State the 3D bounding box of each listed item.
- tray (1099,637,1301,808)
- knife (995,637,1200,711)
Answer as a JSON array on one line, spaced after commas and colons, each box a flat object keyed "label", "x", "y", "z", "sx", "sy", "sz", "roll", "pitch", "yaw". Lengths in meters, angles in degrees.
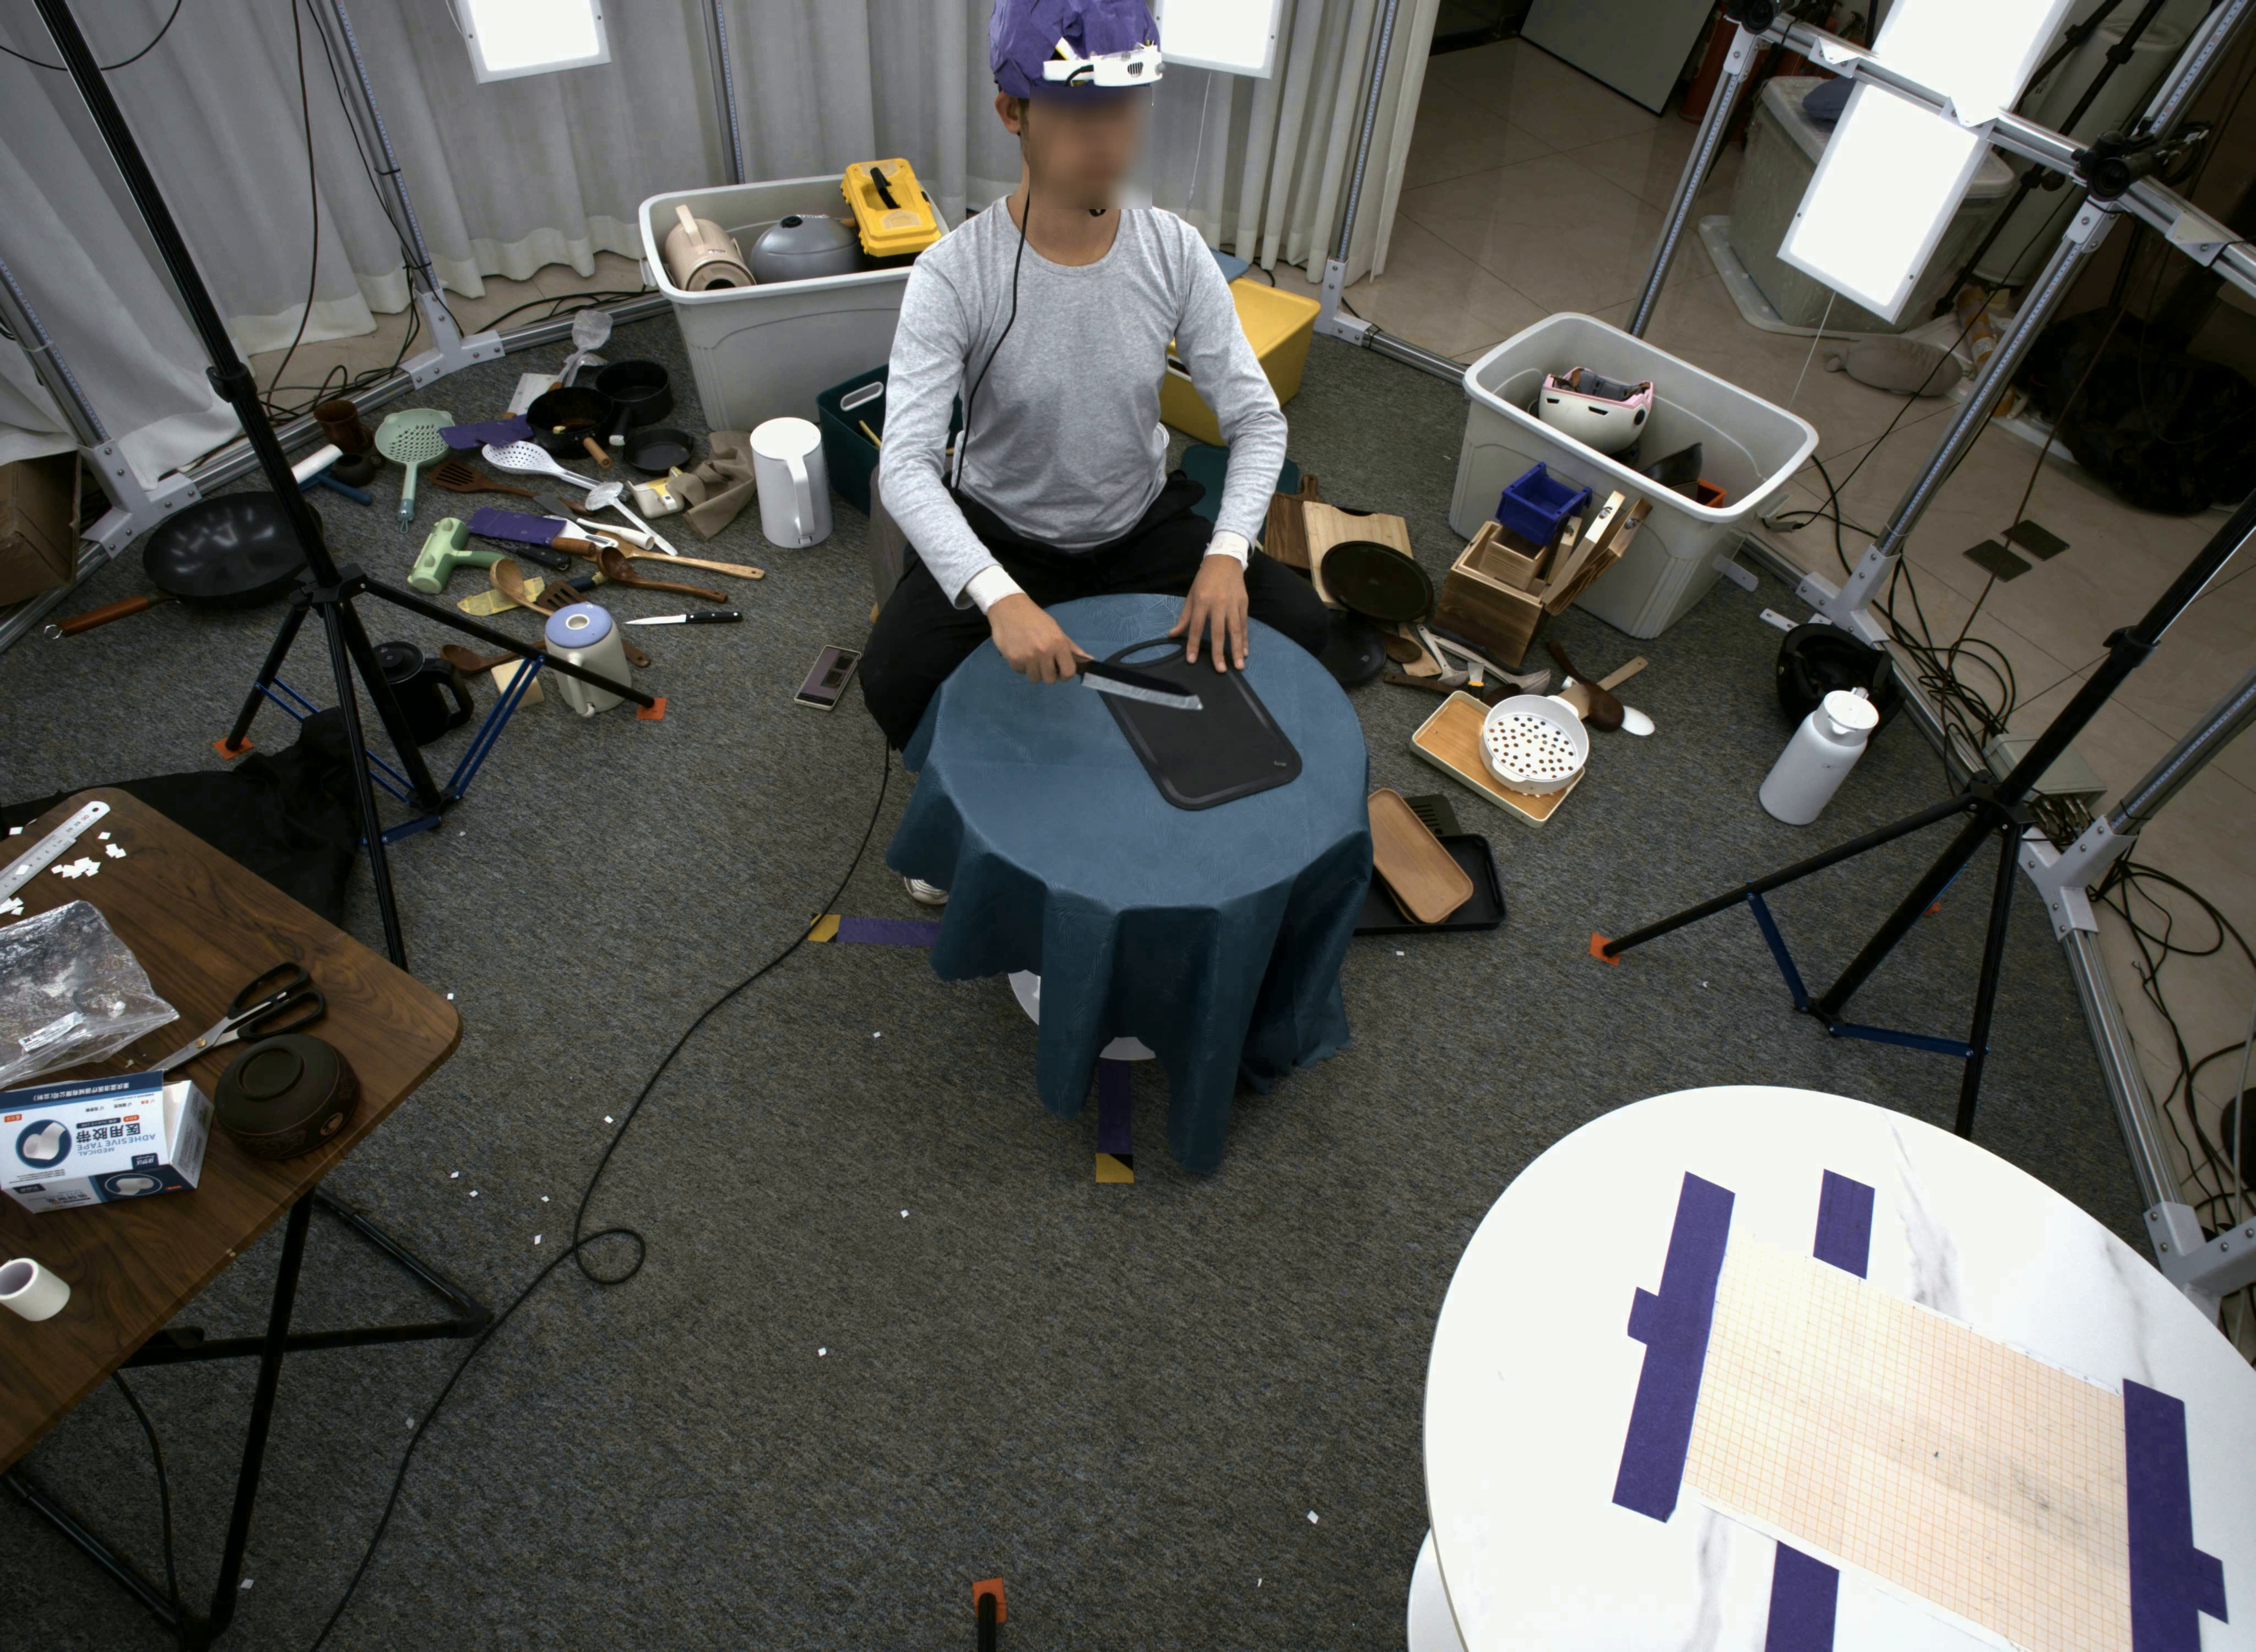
[{"label": "tray", "x": 0.091, "y": -0.157, "z": 1.806, "sx": 0.211, "sy": 0.009, "sz": 0.333, "roll": -16, "pitch": 52, "yaw": -17}, {"label": "knife", "x": -0.039, "y": -0.201, "z": 1.718, "sx": 0.289, "sy": 0.049, "sz": 0.020, "roll": 18, "pitch": 42, "yaw": -2}]
